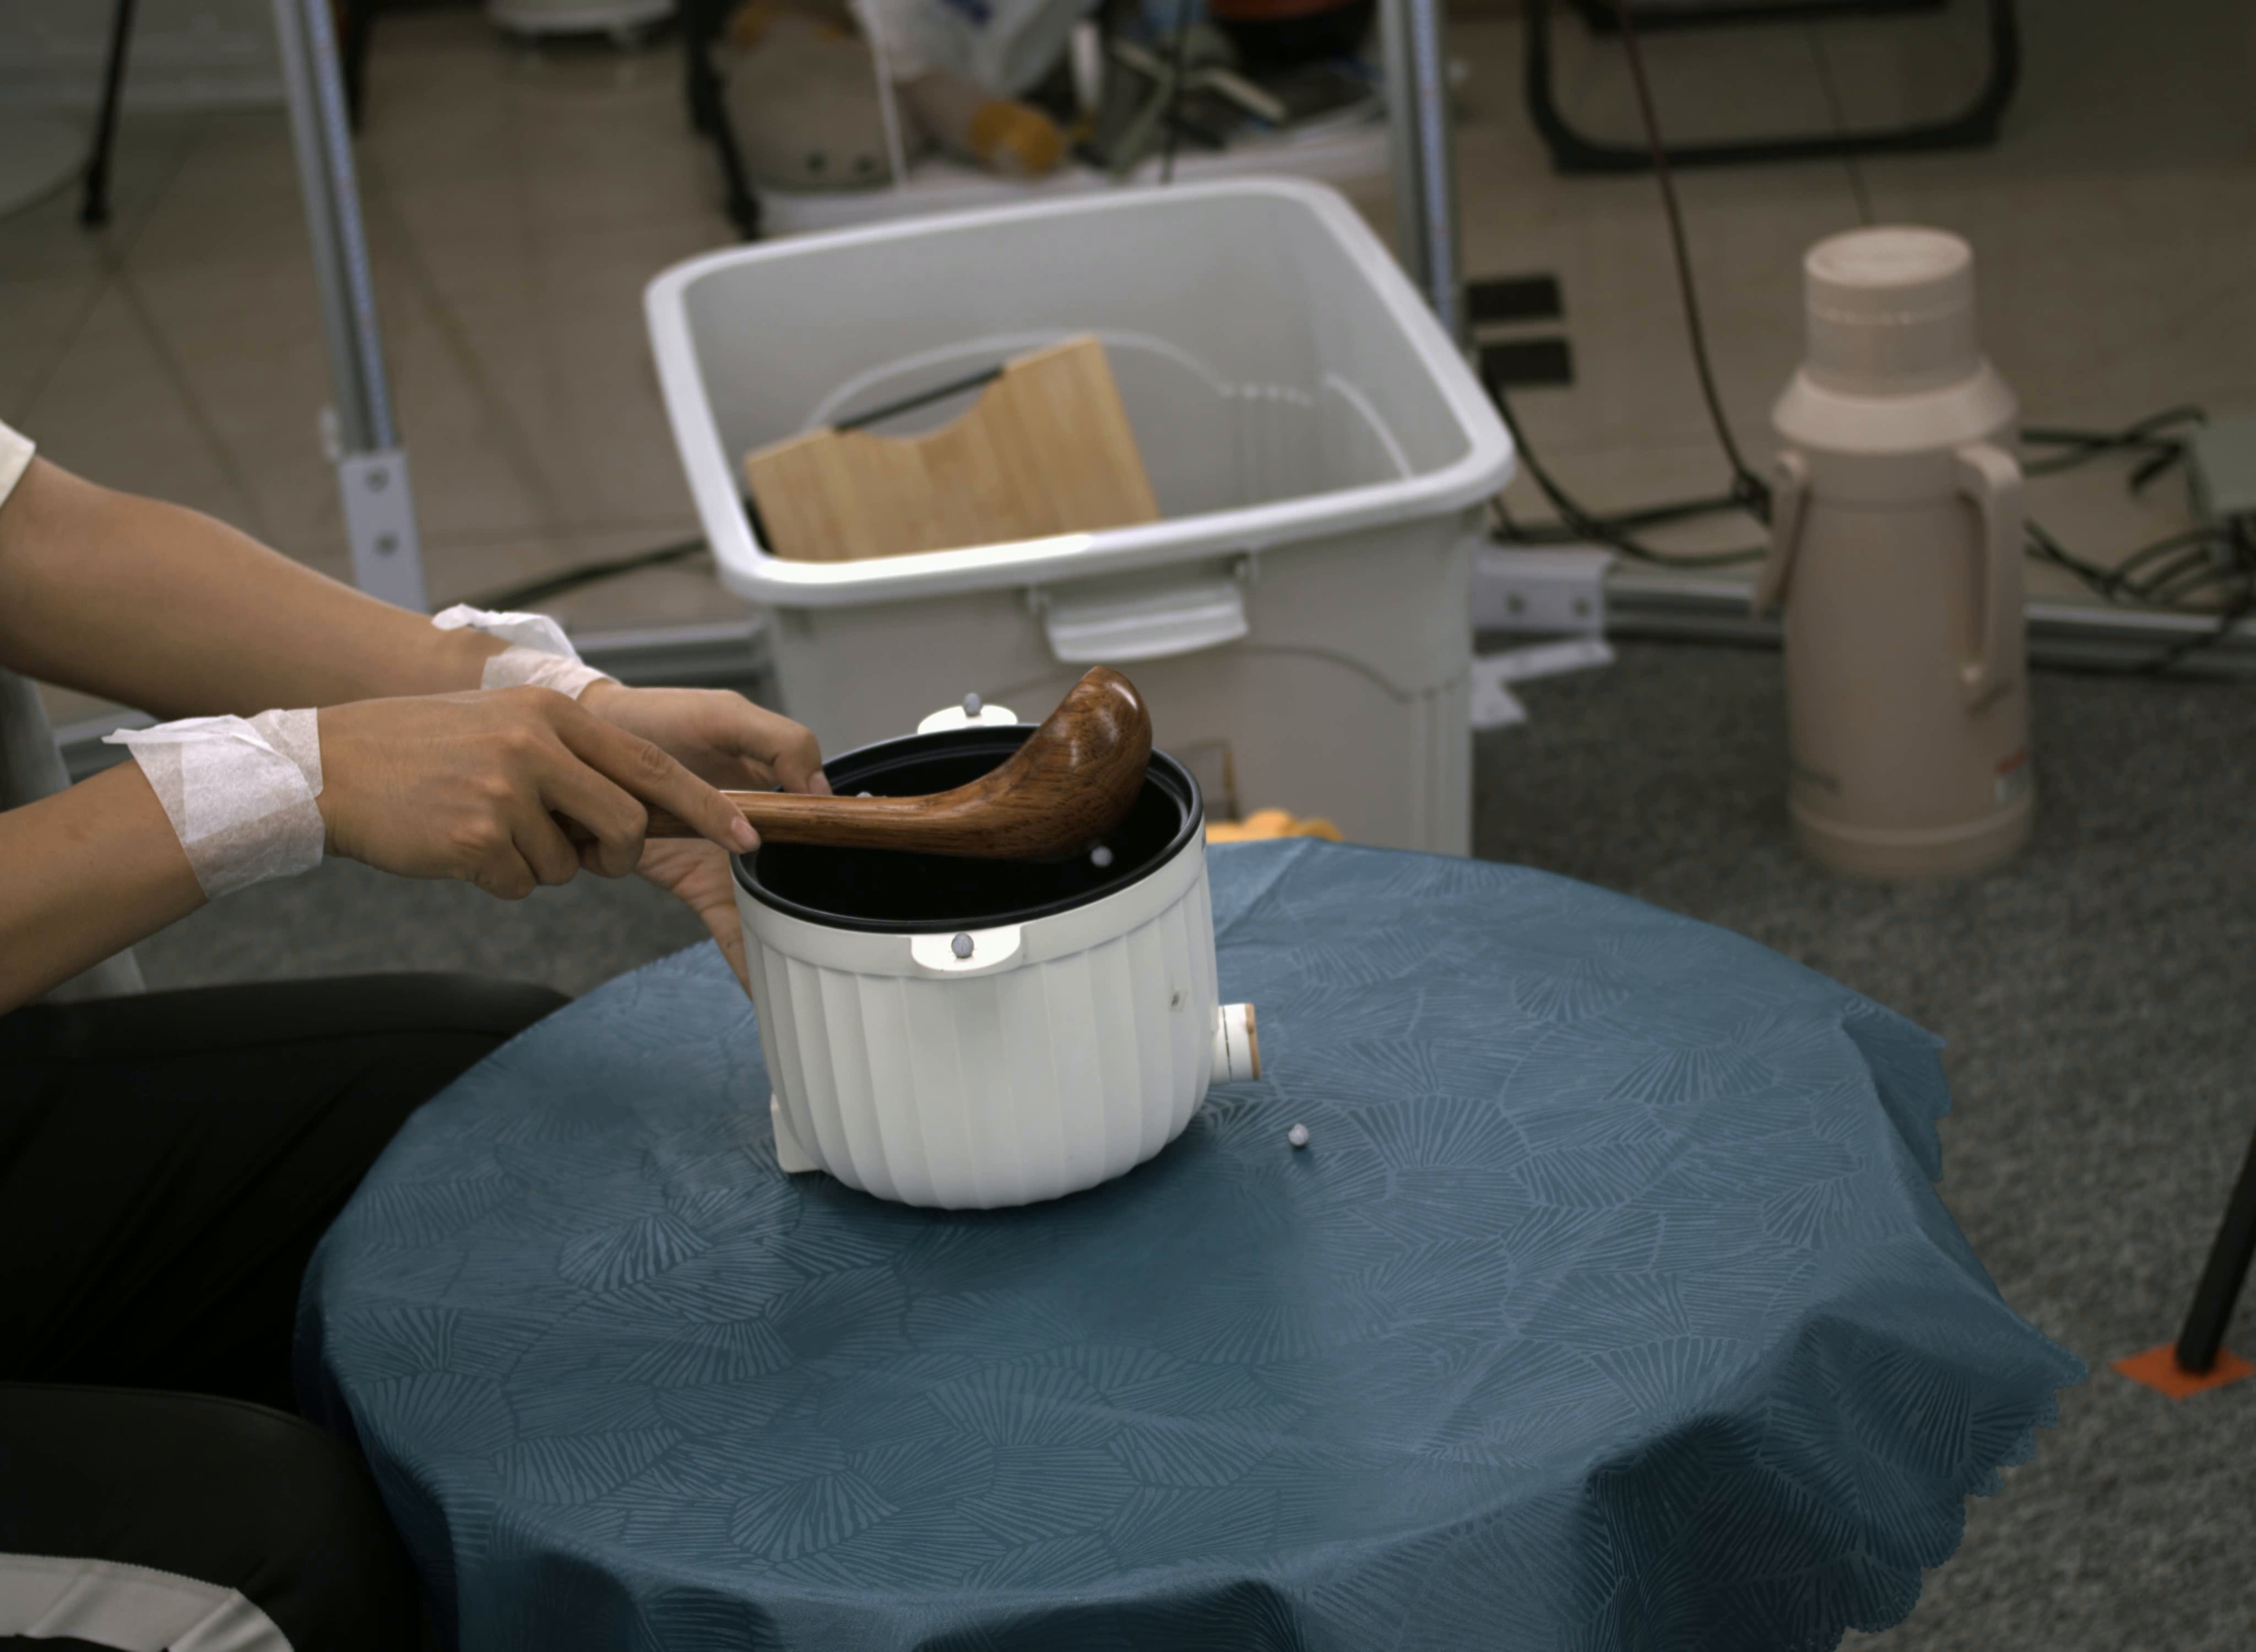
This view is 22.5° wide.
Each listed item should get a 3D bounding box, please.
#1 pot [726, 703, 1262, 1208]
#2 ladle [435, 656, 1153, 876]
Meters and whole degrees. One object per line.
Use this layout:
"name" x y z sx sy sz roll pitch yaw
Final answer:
"pot" -0.050 0.056 2.174 0.190 0.145 0.237 -9 26 2
"ladle" -0.123 -0.020 2.116 0.273 0.083 0.075 -2 40 -10
